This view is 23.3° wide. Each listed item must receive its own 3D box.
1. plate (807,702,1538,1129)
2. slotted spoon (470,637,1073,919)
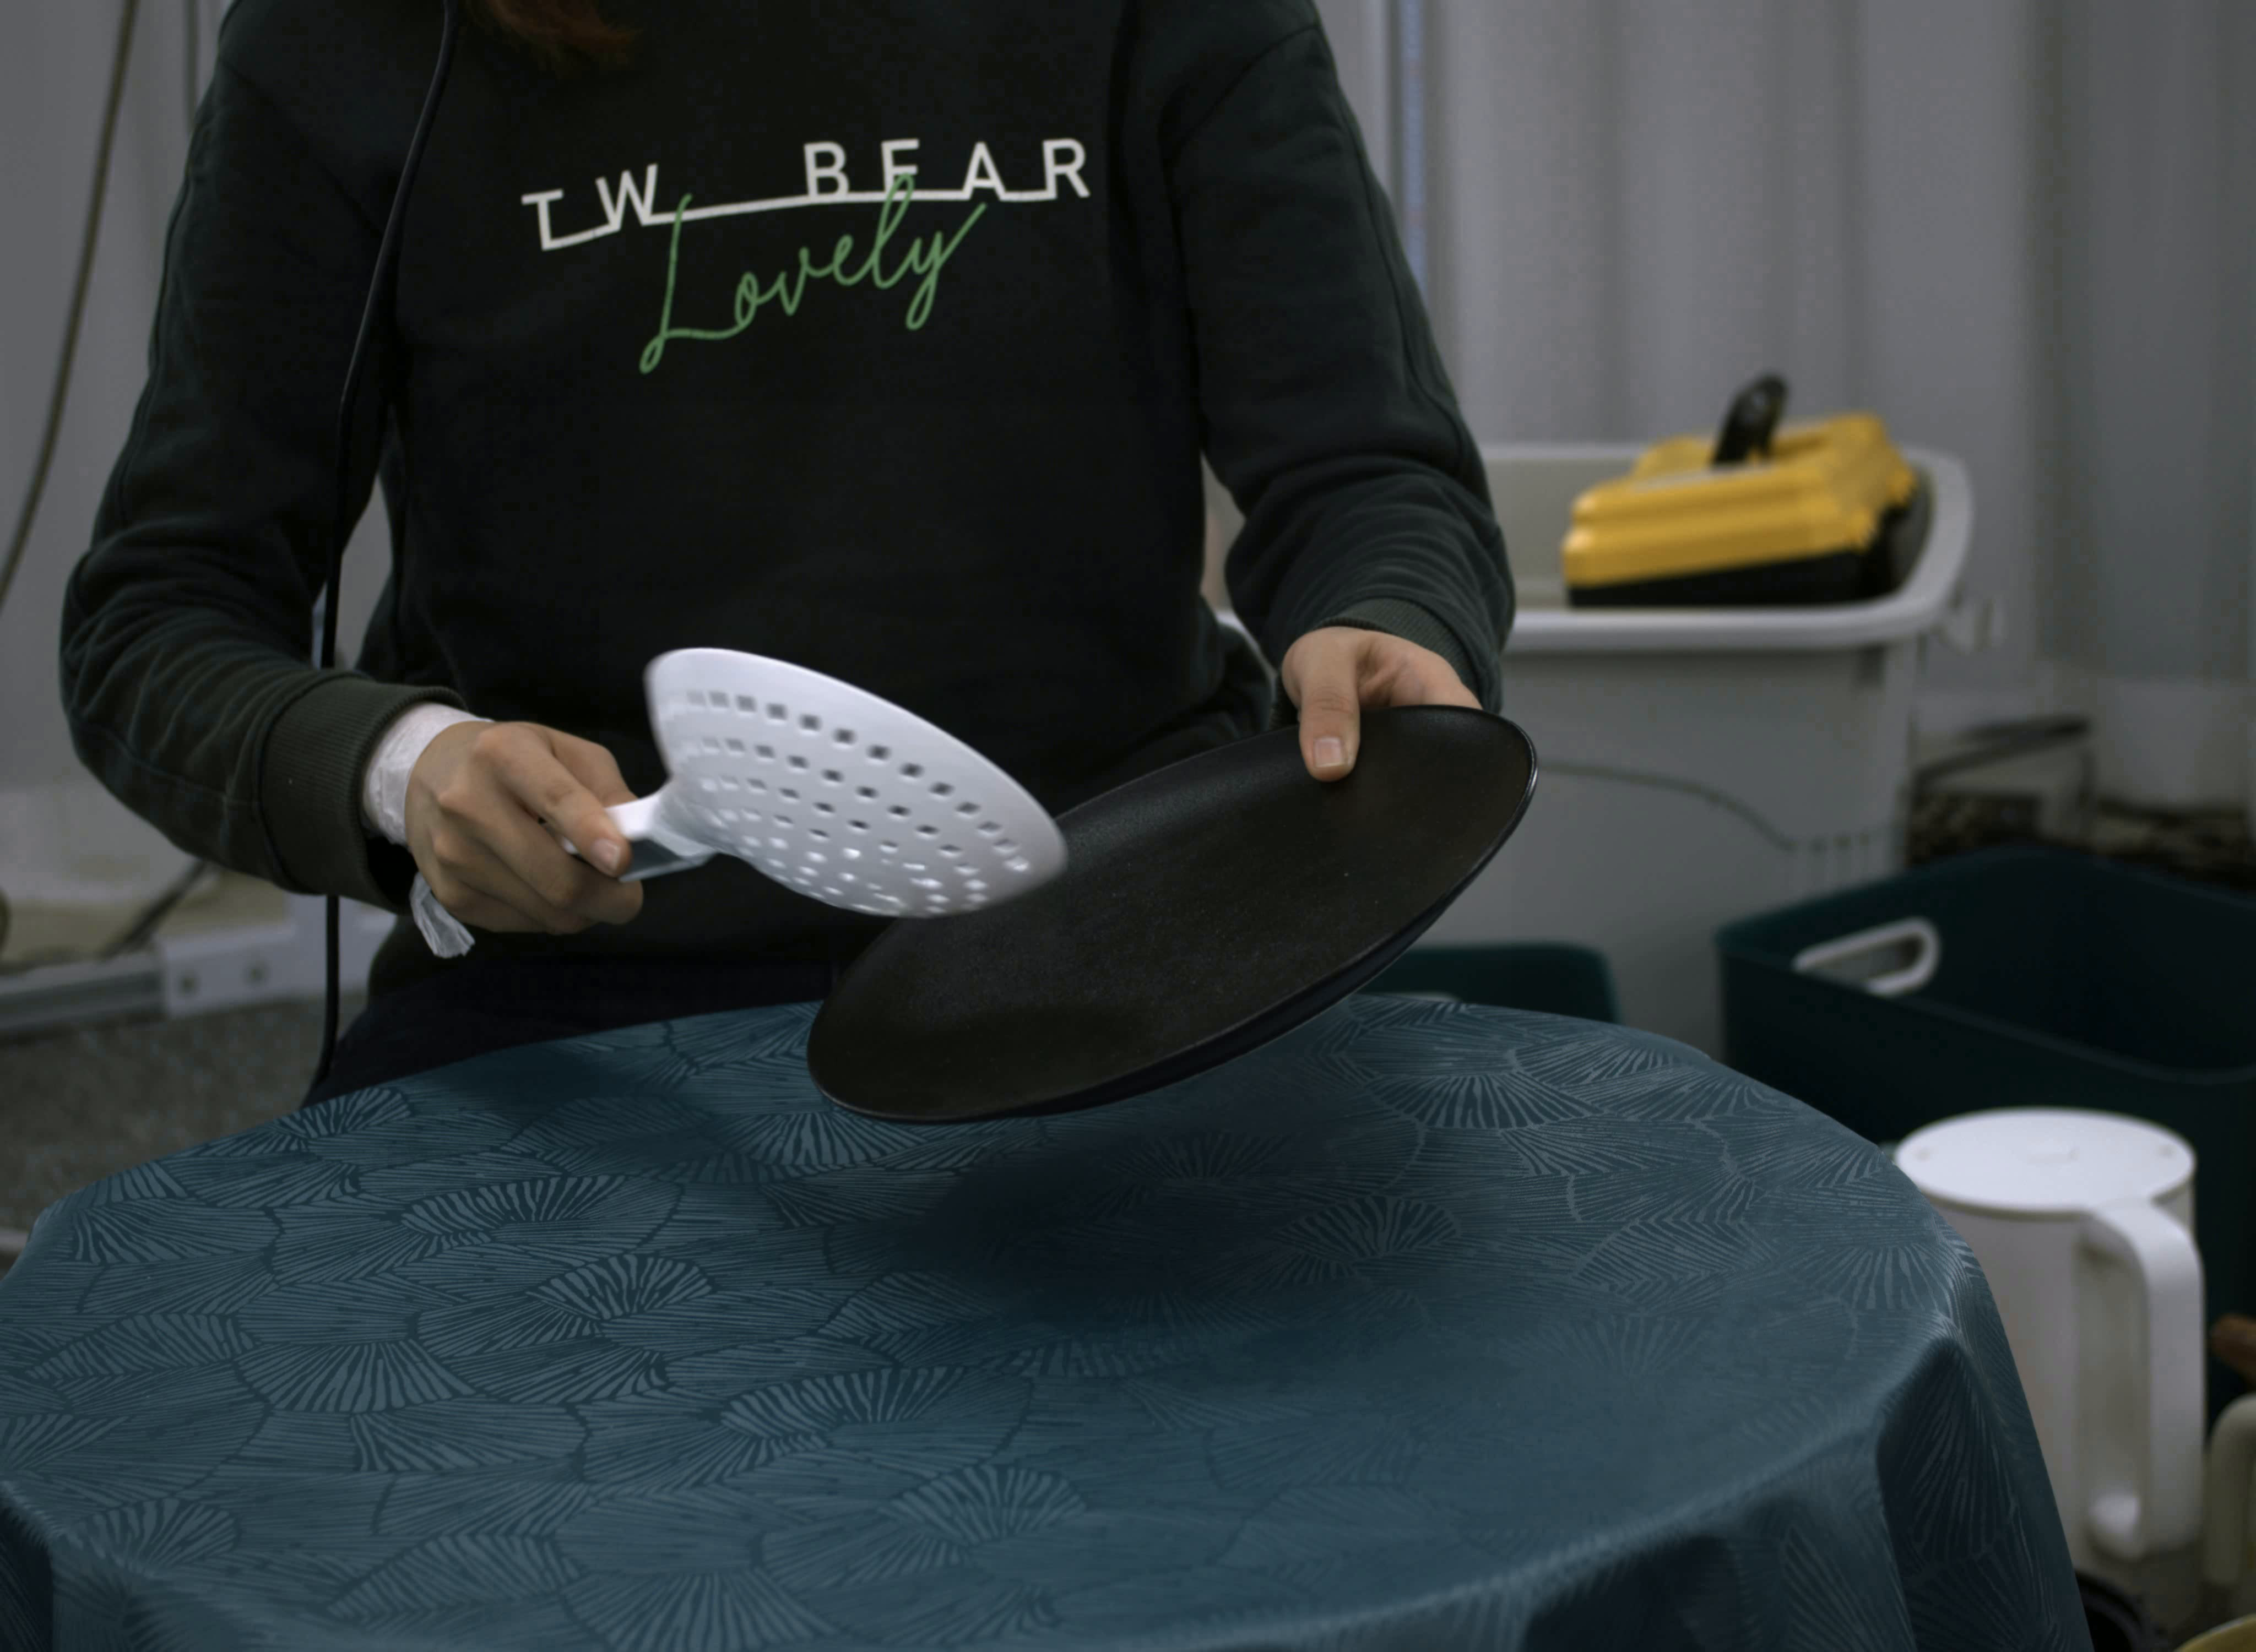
[{"bbox_3d":[0.016,0.032,1.673,0.244,0.023,0.246,-23,19,8],"label":"plate"},{"bbox_3d":[-0.133,0.000,1.735,0.135,0.046,0.350,36,-17,-21],"label":"slotted spoon"}]
